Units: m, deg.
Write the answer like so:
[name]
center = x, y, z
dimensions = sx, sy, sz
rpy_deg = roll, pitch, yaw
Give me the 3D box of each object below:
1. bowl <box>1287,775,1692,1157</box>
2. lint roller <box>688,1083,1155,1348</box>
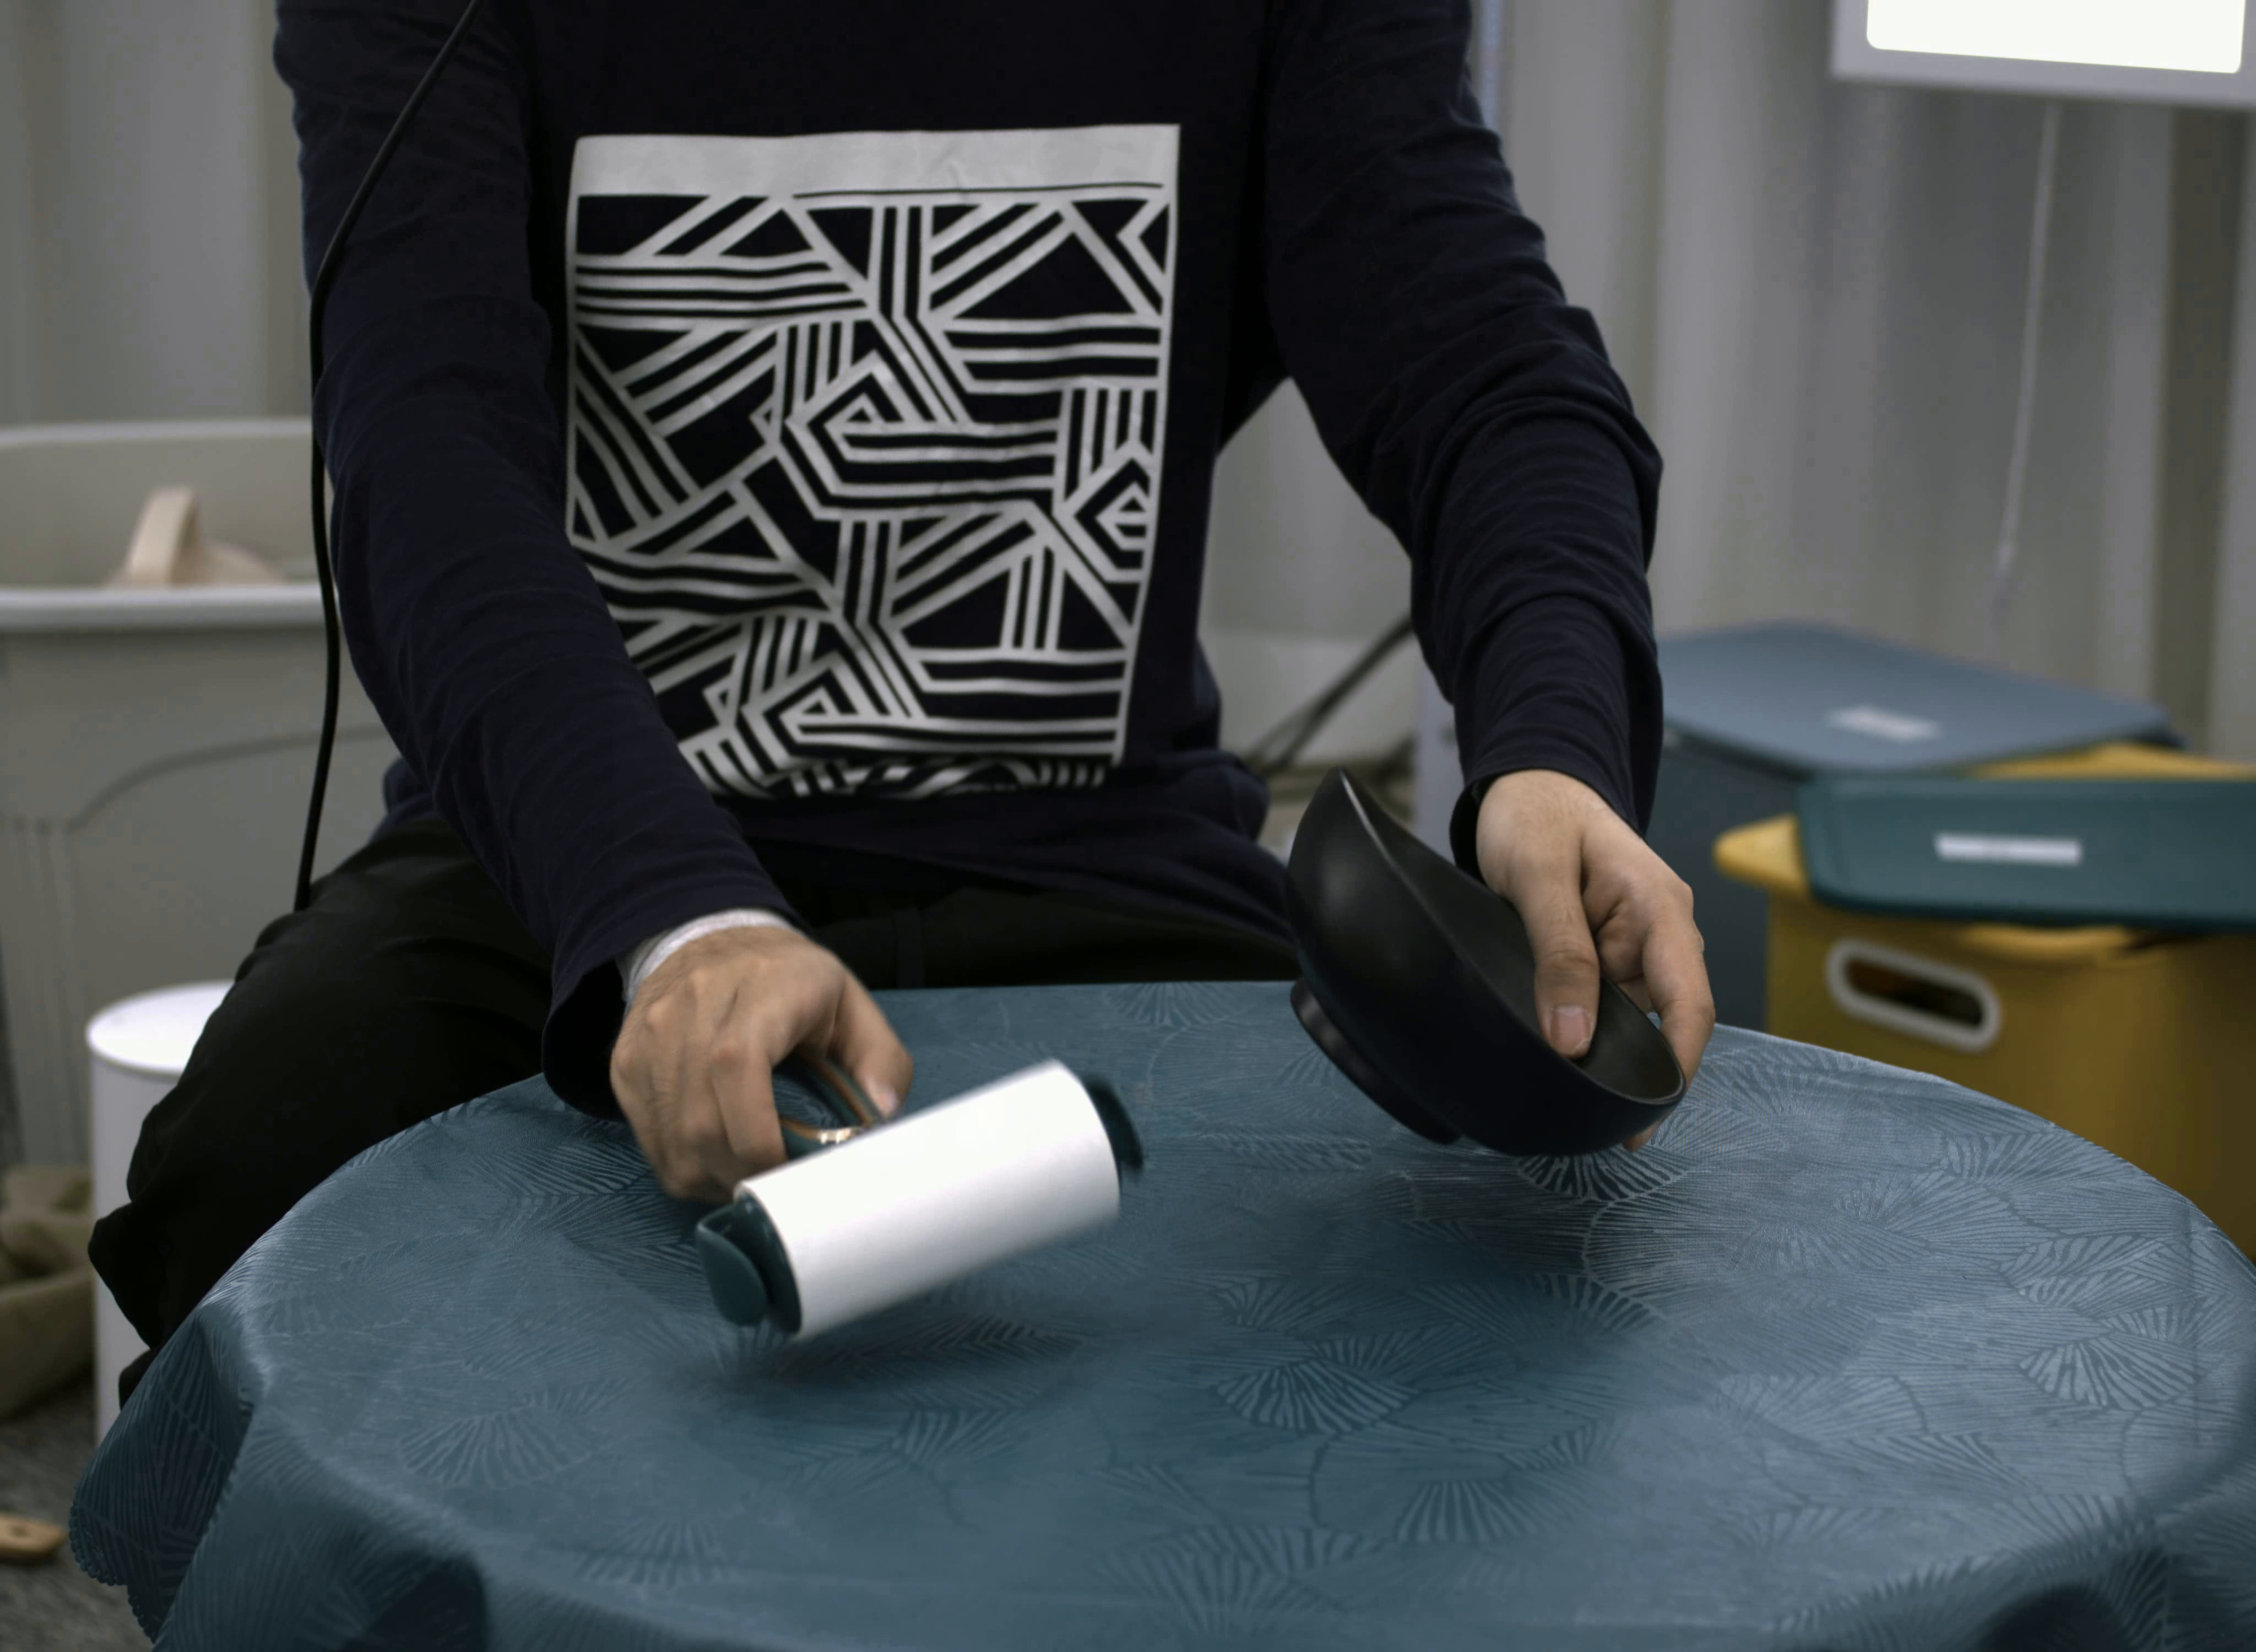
[bowl]
center = 0.094, 0.051, 1.578
dimensions = 0.139, 0.067, 0.168
rpy_deg = 37, 11, -25
[lint roller]
center = -0.087, 0.090, 1.532
dimensions = 0.134, 0.049, 0.178
rpy_deg = -18, 25, -22
